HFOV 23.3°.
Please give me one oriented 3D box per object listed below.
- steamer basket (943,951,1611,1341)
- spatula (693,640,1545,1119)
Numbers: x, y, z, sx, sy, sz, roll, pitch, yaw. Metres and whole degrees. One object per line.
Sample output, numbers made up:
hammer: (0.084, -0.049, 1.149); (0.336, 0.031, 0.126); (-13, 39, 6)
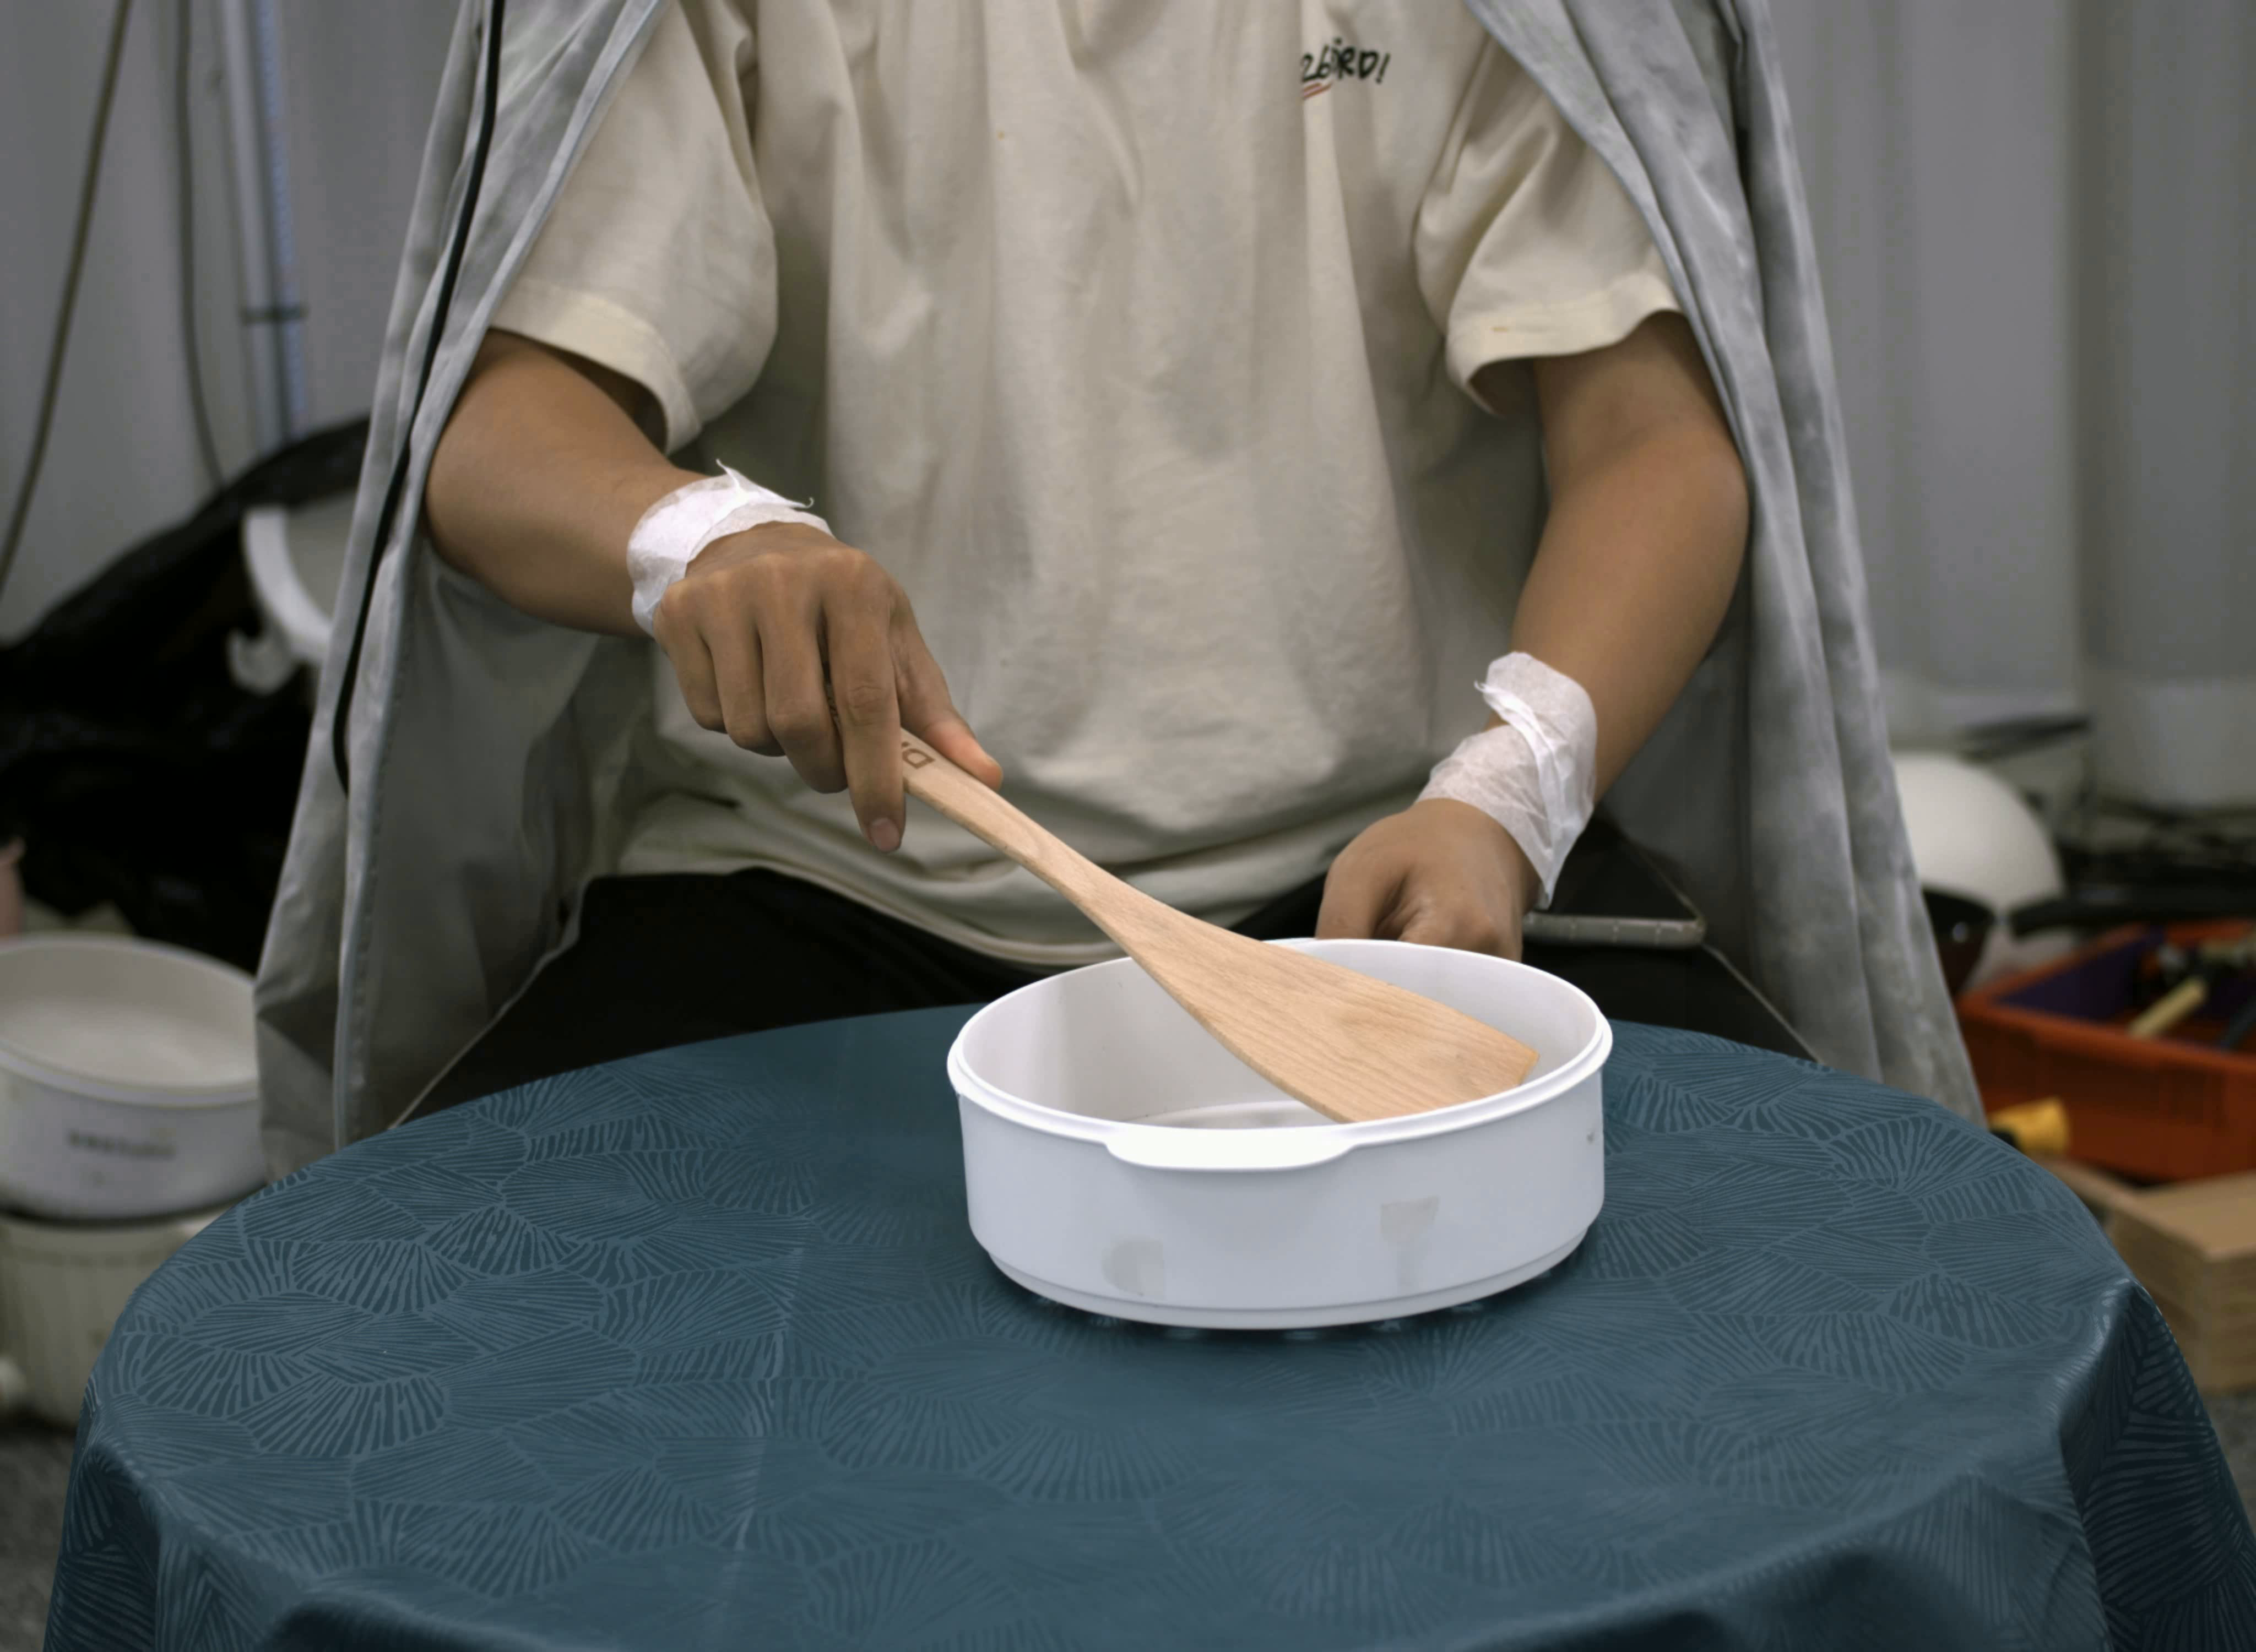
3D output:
steamer basket: (0.045, 0.096, 1.654); (0.201, 0.069, 0.231); (2, 15, 11)
spatula: (-0.010, 0.015, 1.710); (0.330, 0.016, 0.080); (31, 35, 26)
